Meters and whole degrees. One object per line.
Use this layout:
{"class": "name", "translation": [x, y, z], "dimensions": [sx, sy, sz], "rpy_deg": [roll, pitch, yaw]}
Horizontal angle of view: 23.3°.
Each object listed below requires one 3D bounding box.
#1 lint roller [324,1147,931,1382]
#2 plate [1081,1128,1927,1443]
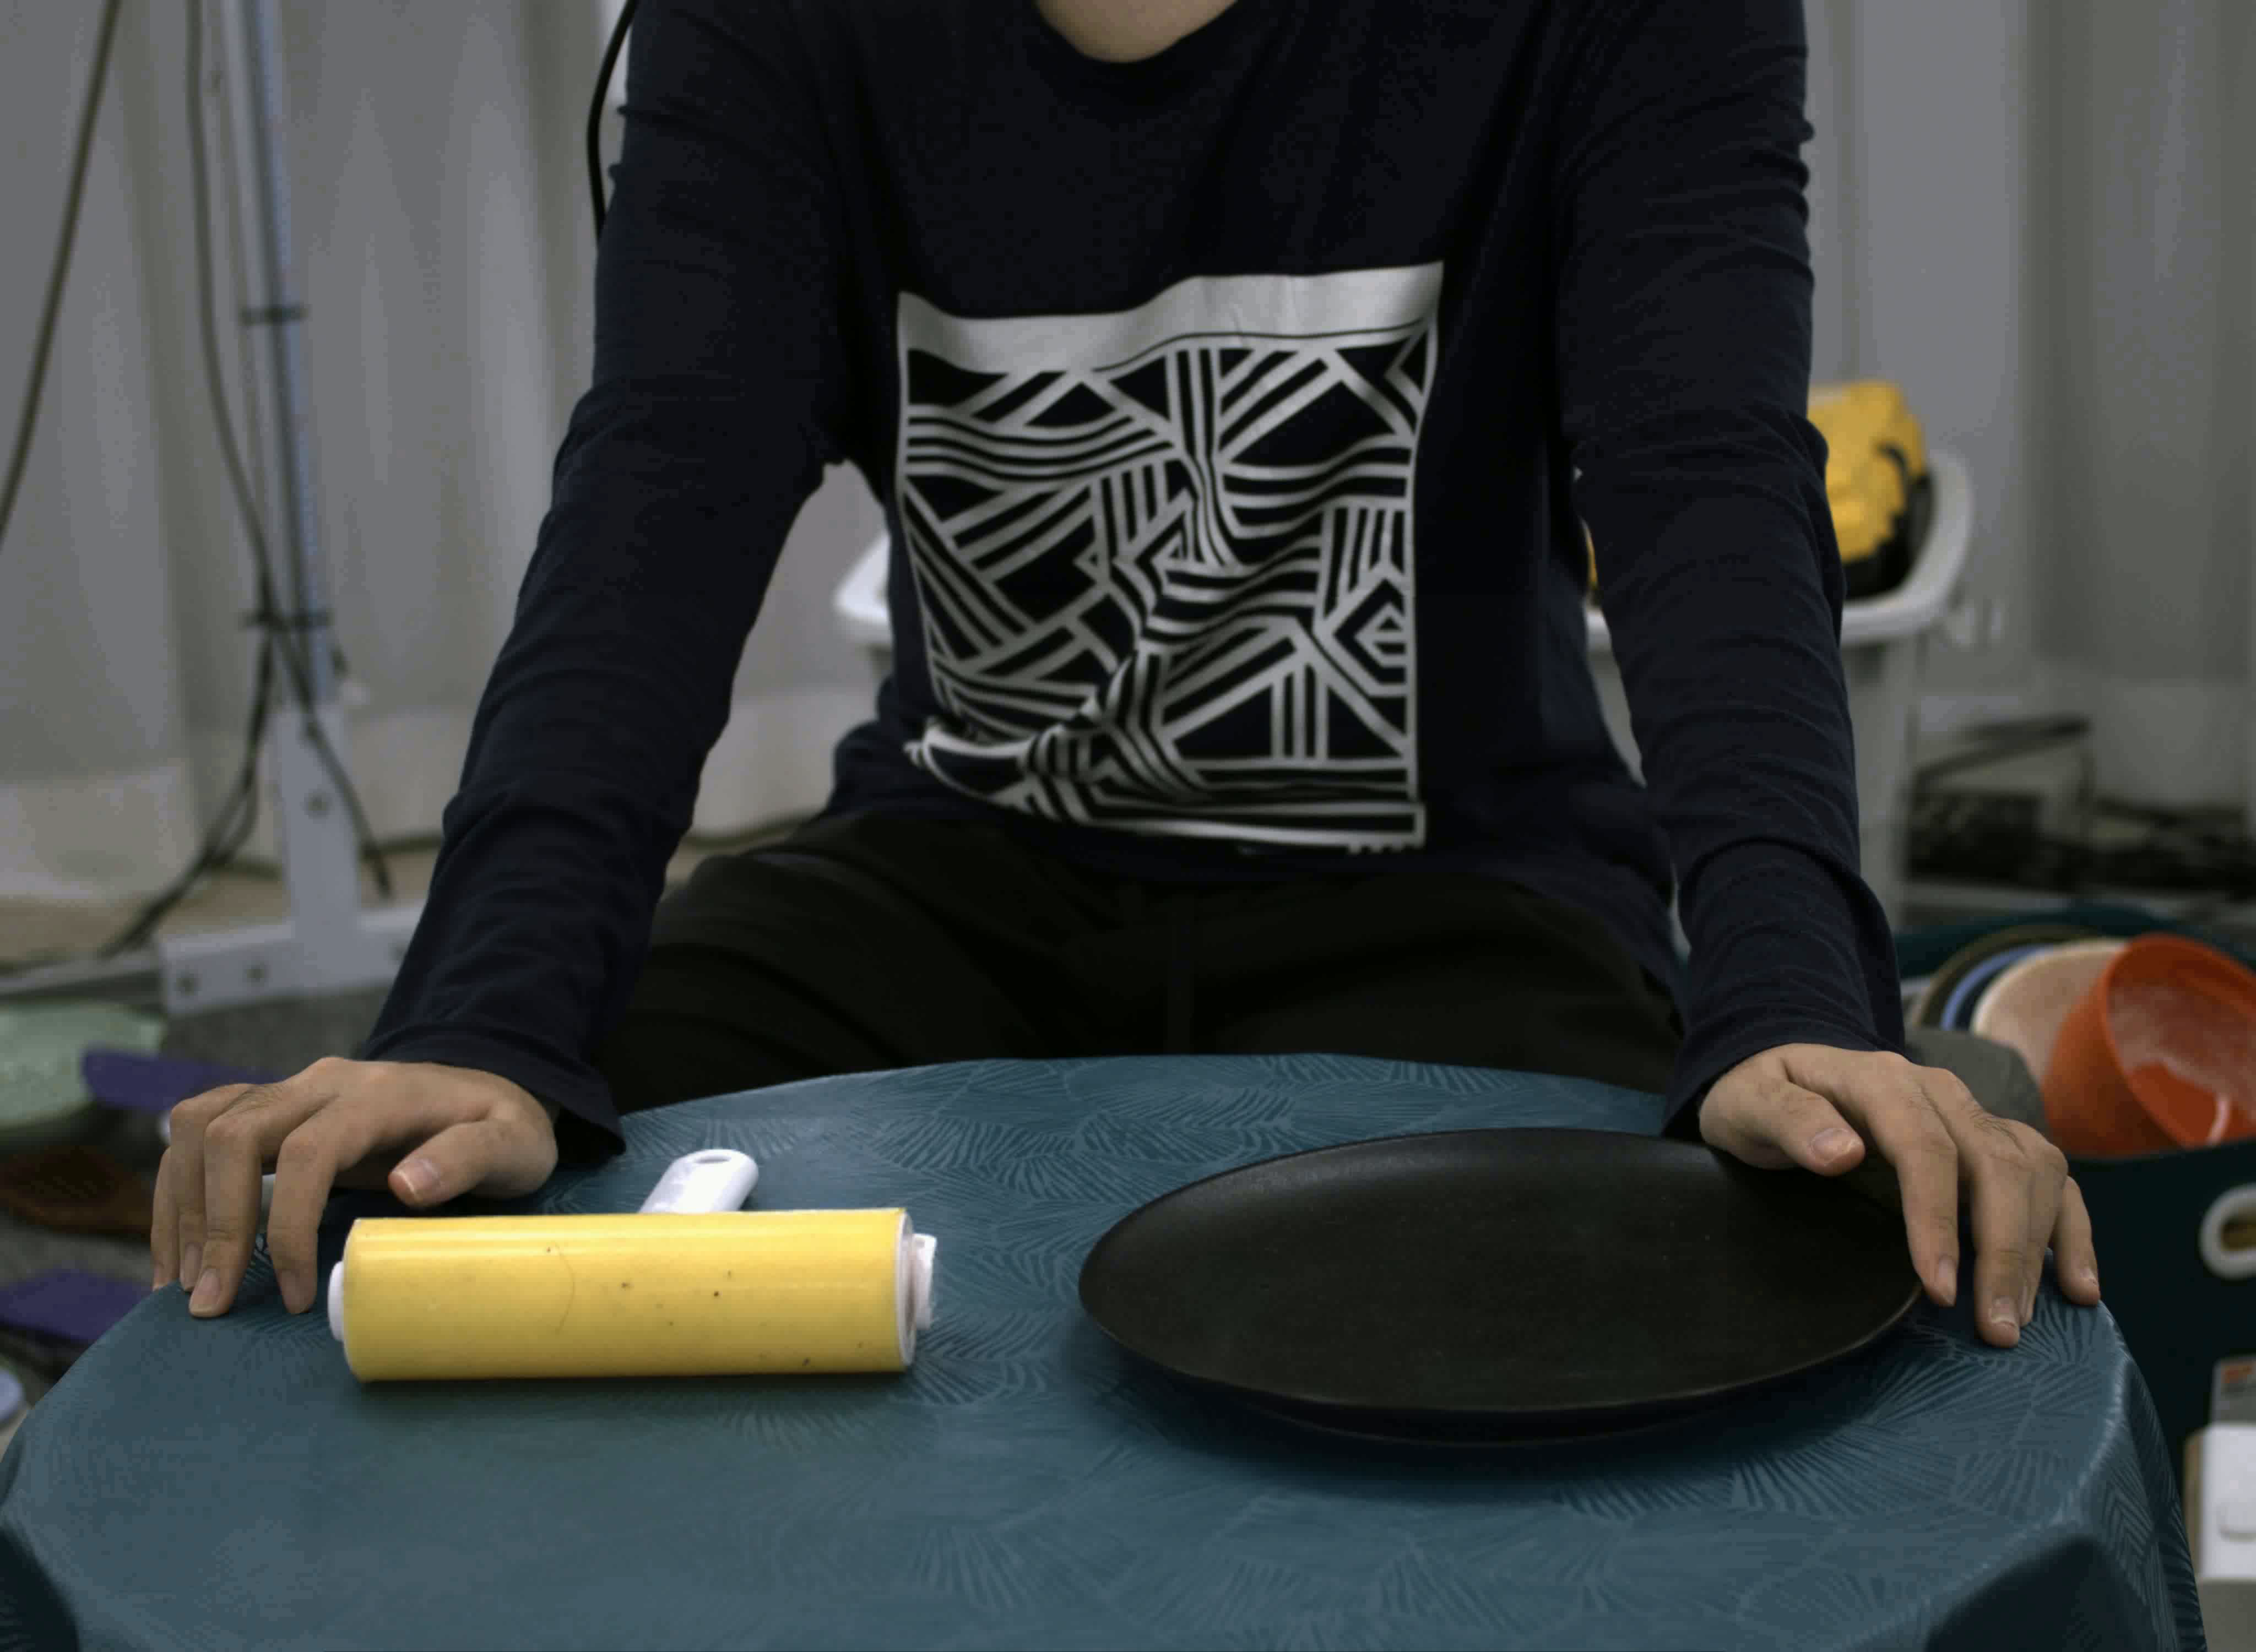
{"class": "lint roller", "translation": [-0.141, 0.116, 1.644], "dimensions": [0.174, 0.051, 0.193], "rpy_deg": [-1, 18, 3]}
{"class": "plate", "translation": [0.108, 0.135, 1.577], "dimensions": [0.243, 0.023, 0.246], "rpy_deg": [-3, 15, 0]}
